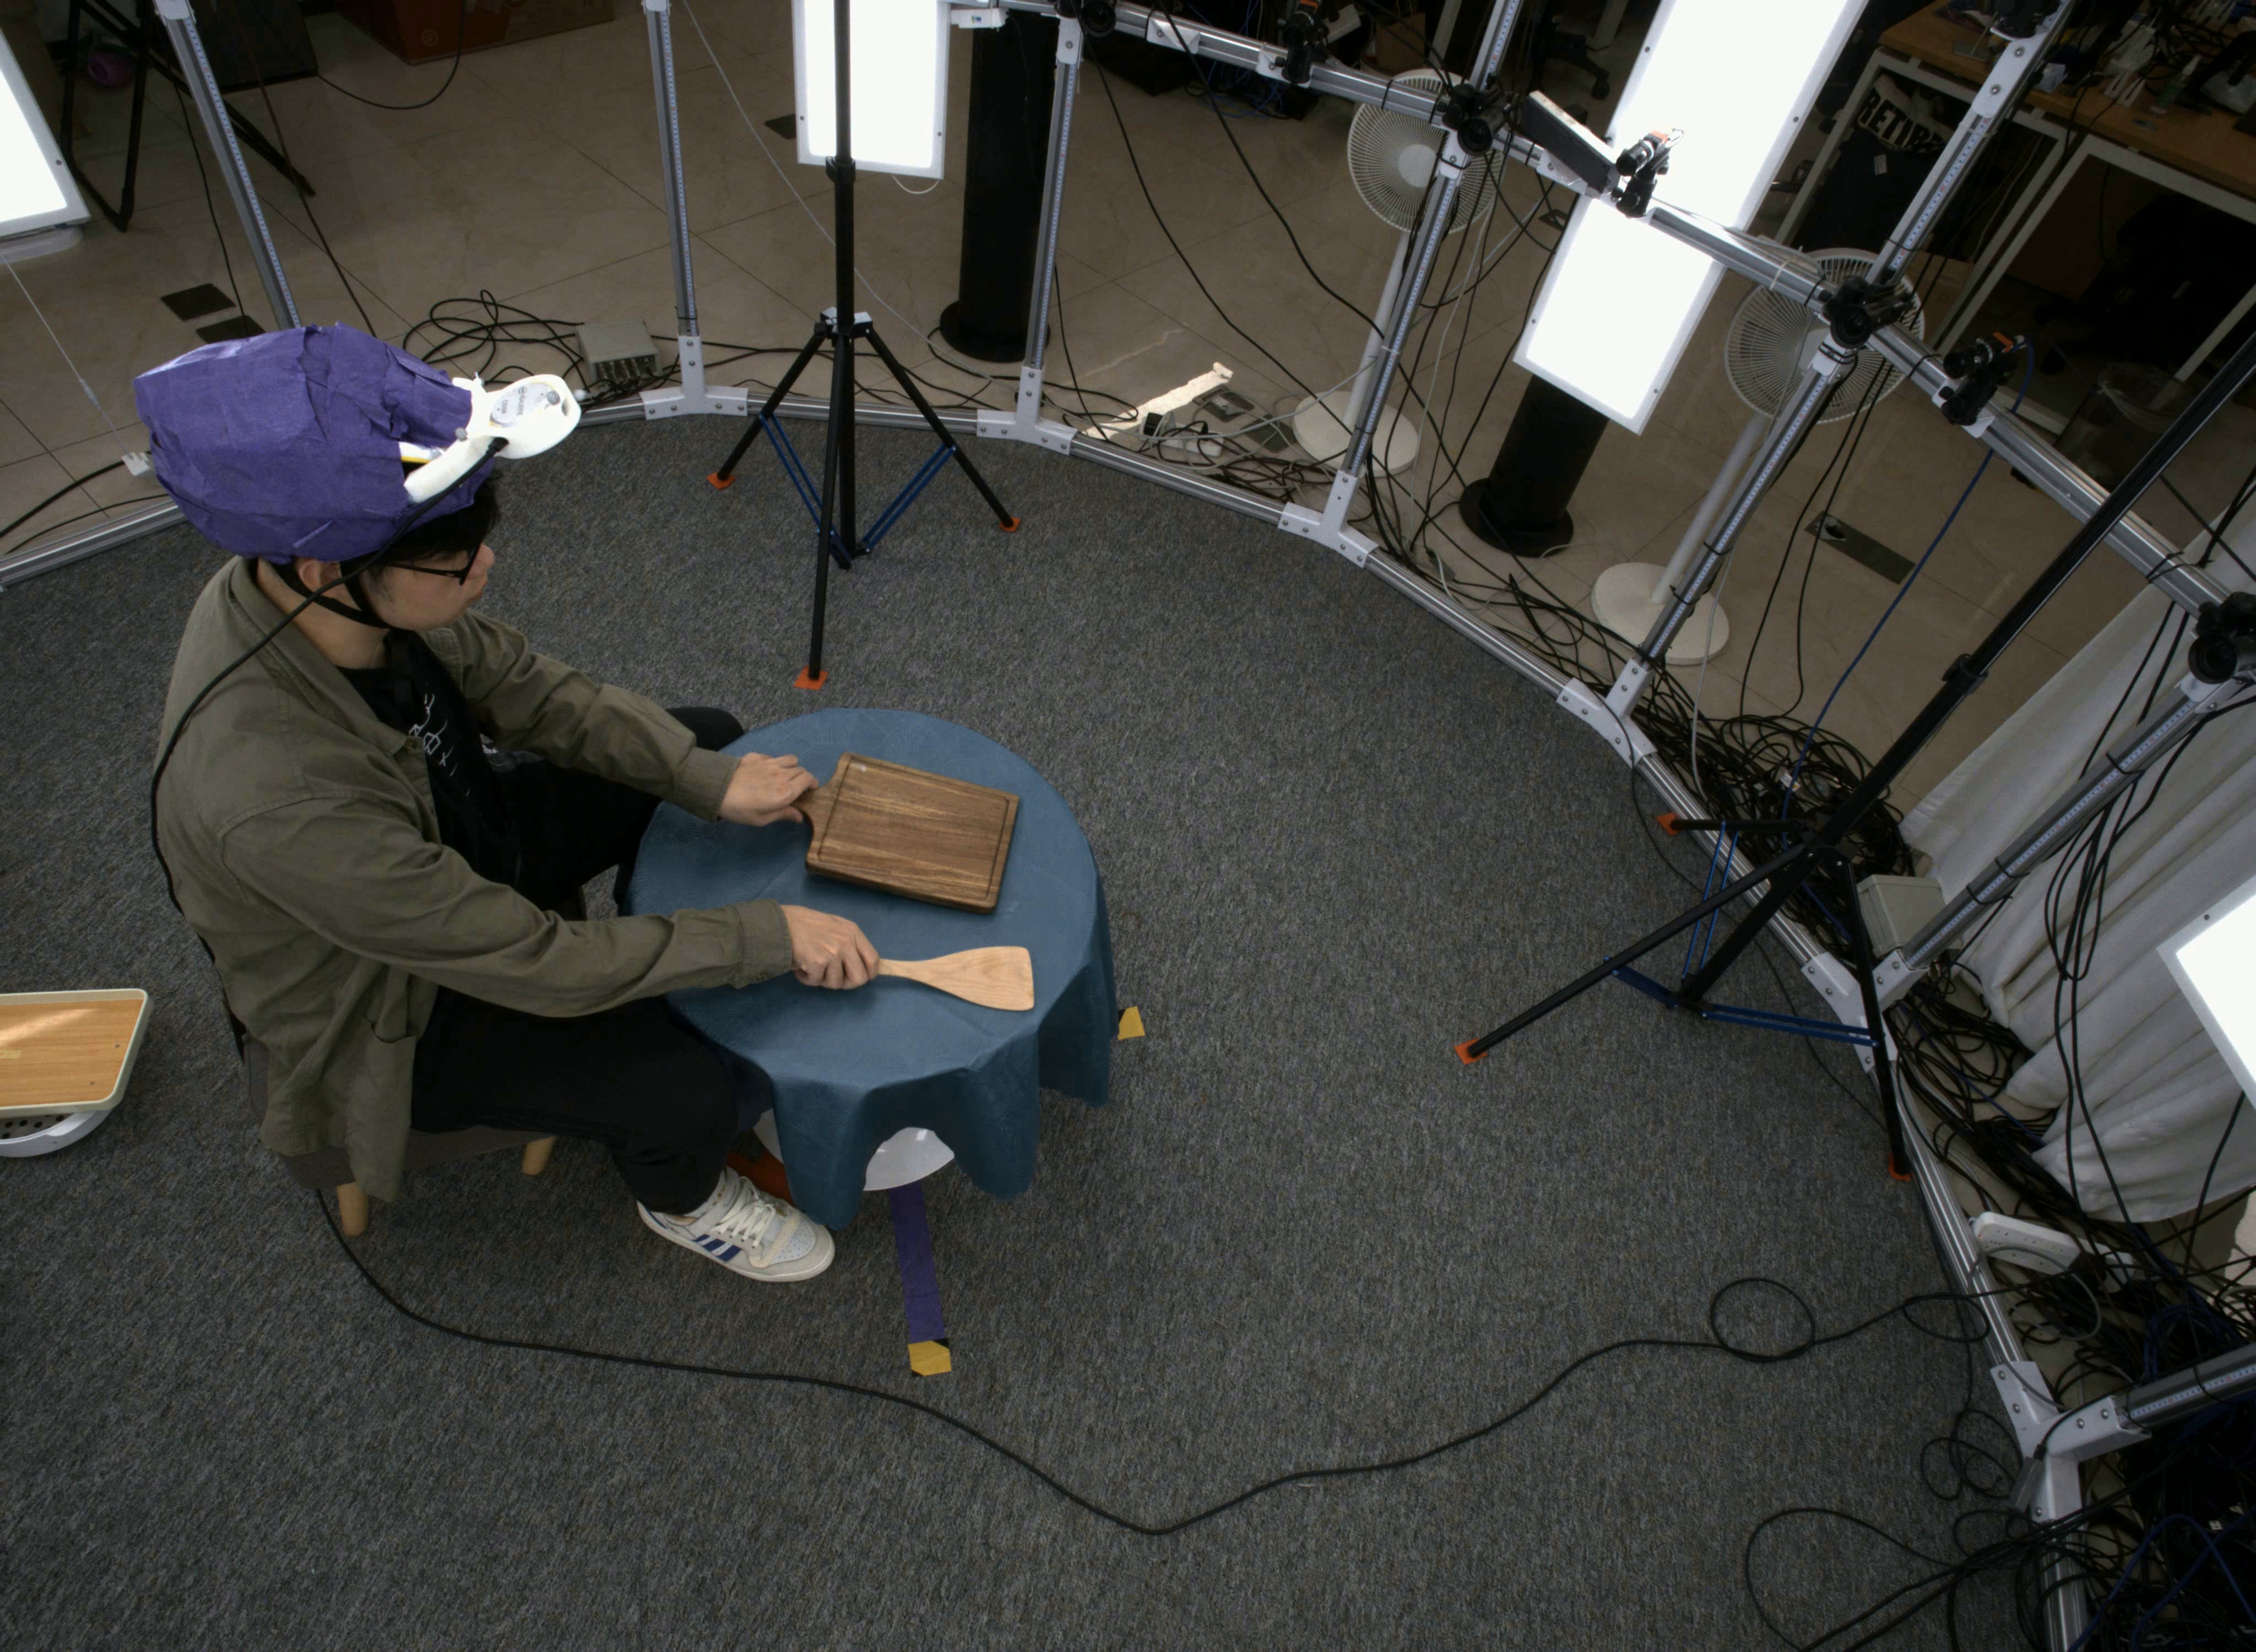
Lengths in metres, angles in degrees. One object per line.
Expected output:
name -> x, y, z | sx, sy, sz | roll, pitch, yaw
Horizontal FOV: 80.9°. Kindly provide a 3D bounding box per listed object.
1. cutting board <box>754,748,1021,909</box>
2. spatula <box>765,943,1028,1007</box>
cutting board -> -0.326, -0.012, 1.741 | 0.352, 0.023, 0.198 | 15, 52, -9
spatula -> -0.284, 0.173, 1.615 | 0.328, 0.016, 0.080 | 6, 80, -12
